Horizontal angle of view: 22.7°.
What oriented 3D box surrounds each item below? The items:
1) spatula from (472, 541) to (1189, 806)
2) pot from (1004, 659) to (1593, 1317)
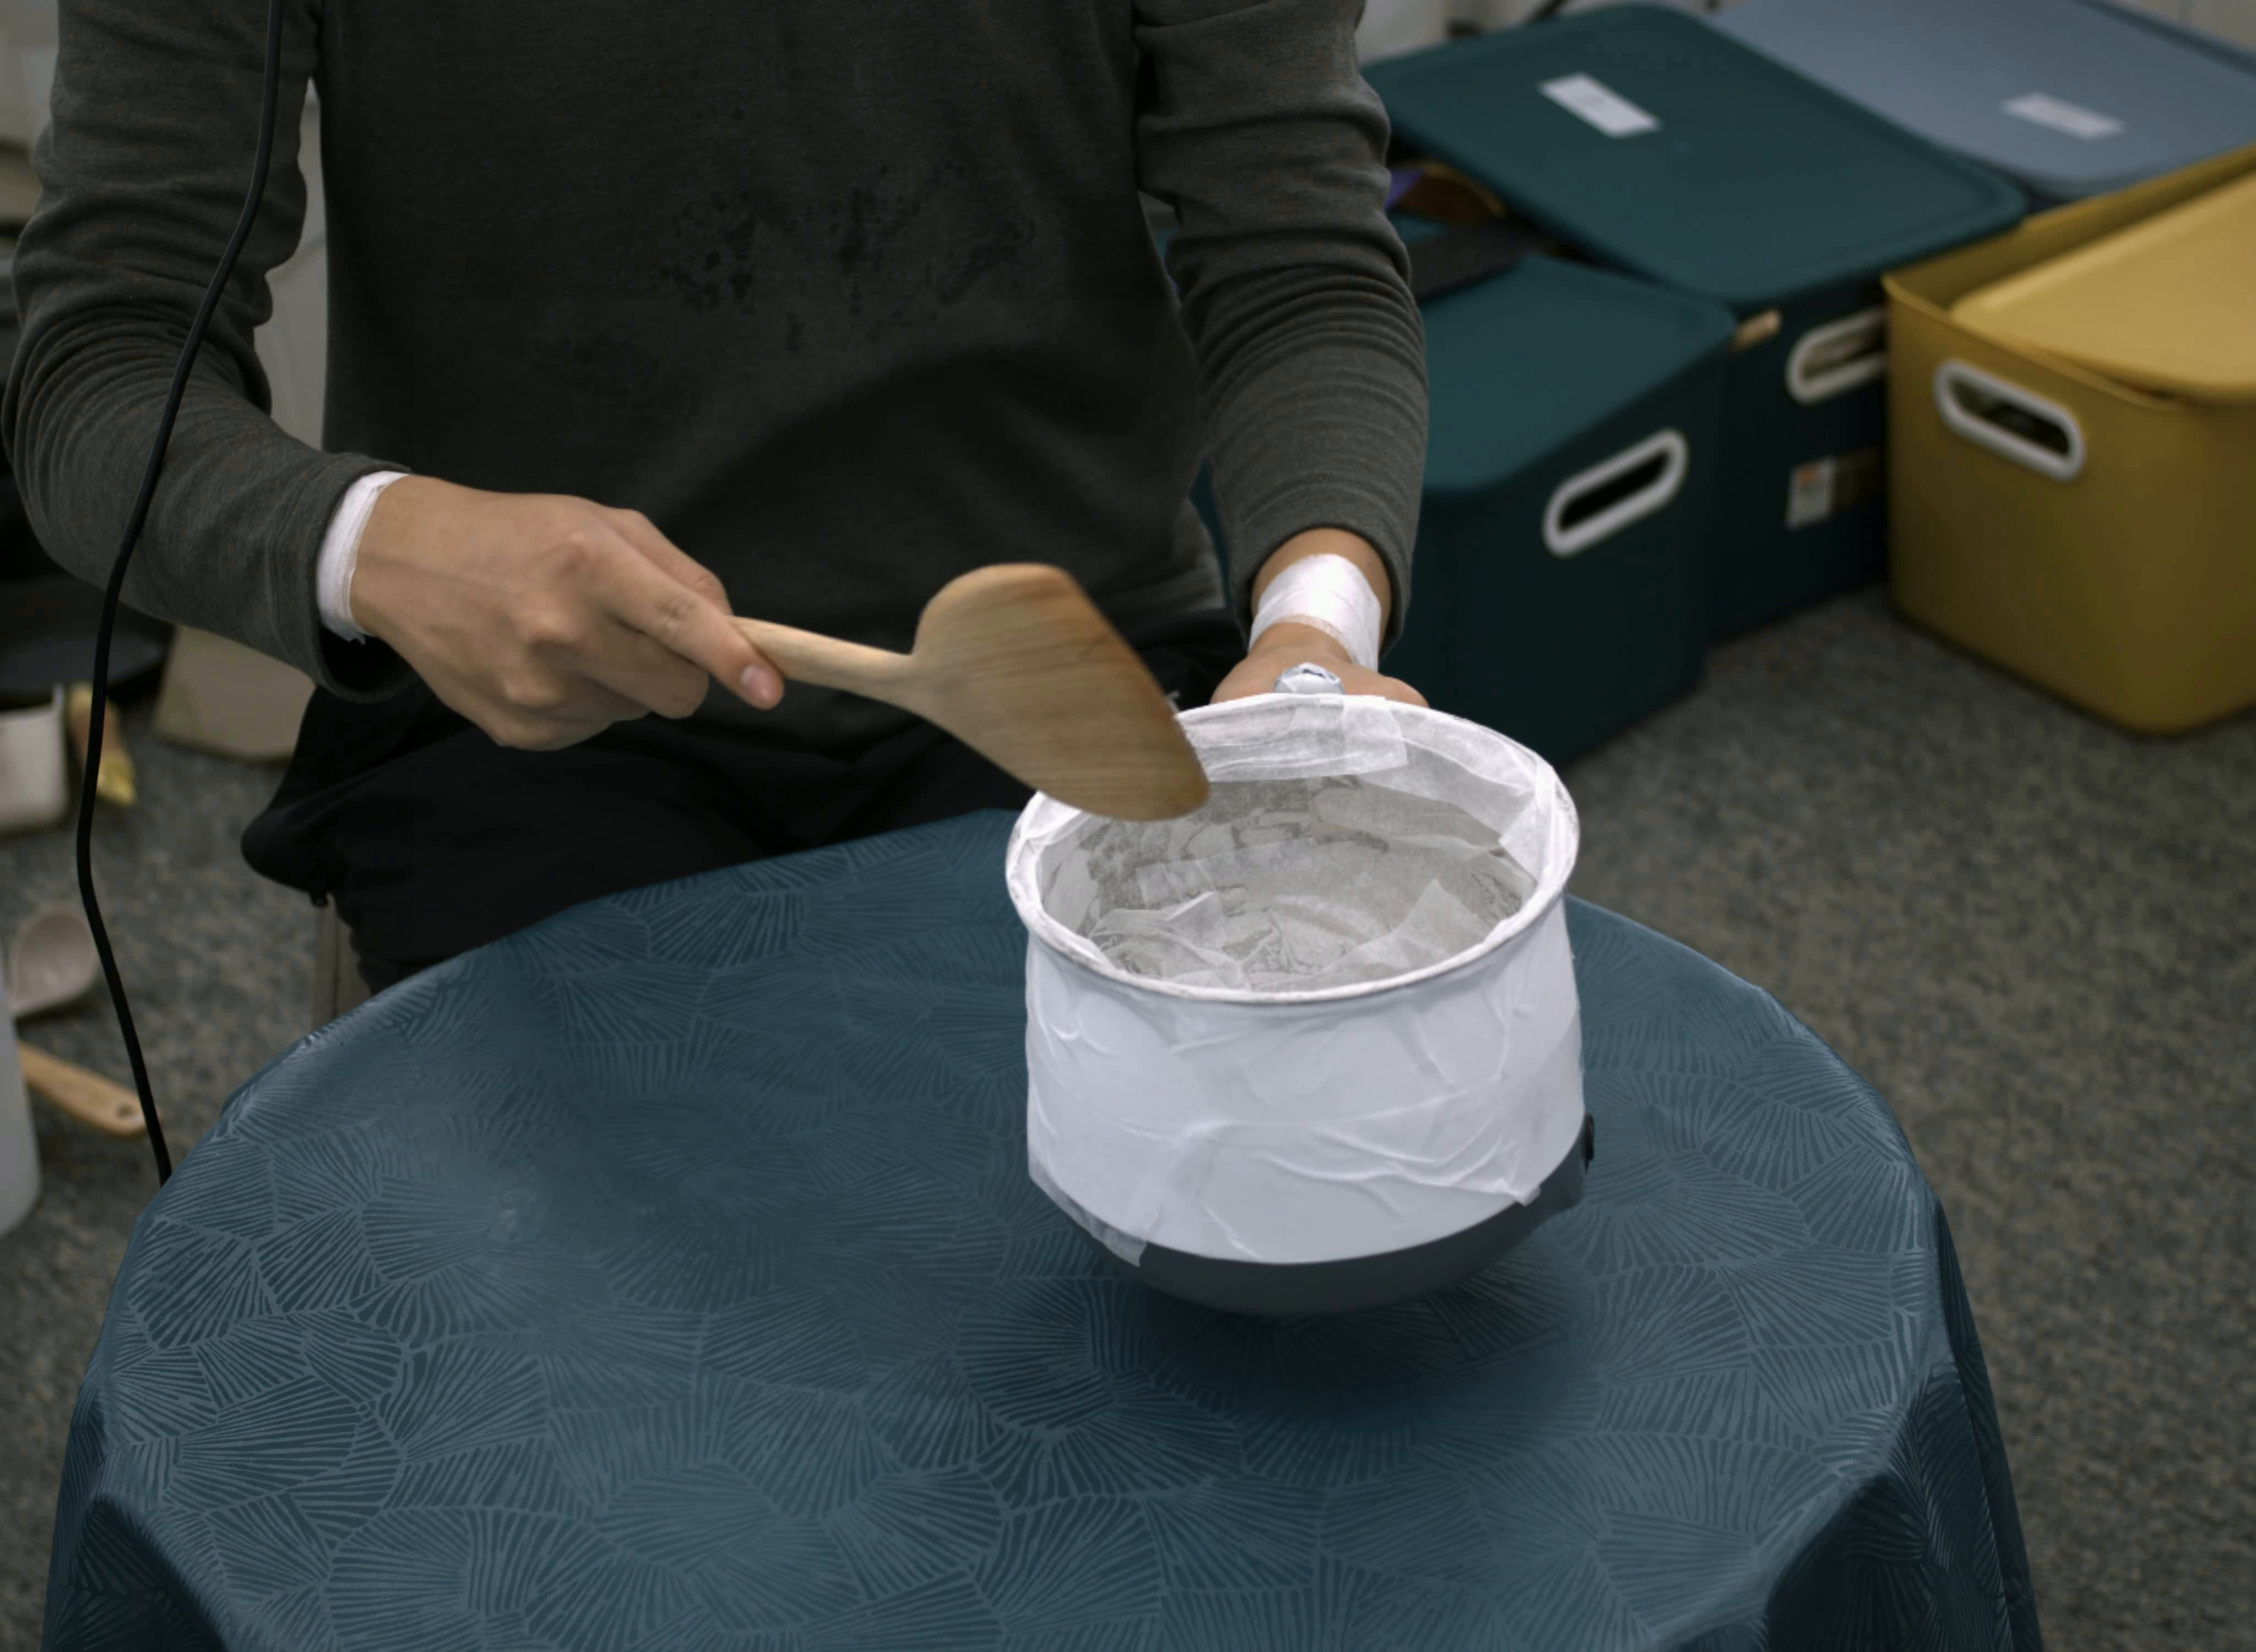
[{"bbox_3d":[-0.109,-0.060,1.750,0.019,0.095,0.389,-43,28,-22],"label":"spatula"},{"bbox_3d":[0.056,0.043,1.779,0.178,0.135,0.238,-2,30,4],"label":"pot"}]
